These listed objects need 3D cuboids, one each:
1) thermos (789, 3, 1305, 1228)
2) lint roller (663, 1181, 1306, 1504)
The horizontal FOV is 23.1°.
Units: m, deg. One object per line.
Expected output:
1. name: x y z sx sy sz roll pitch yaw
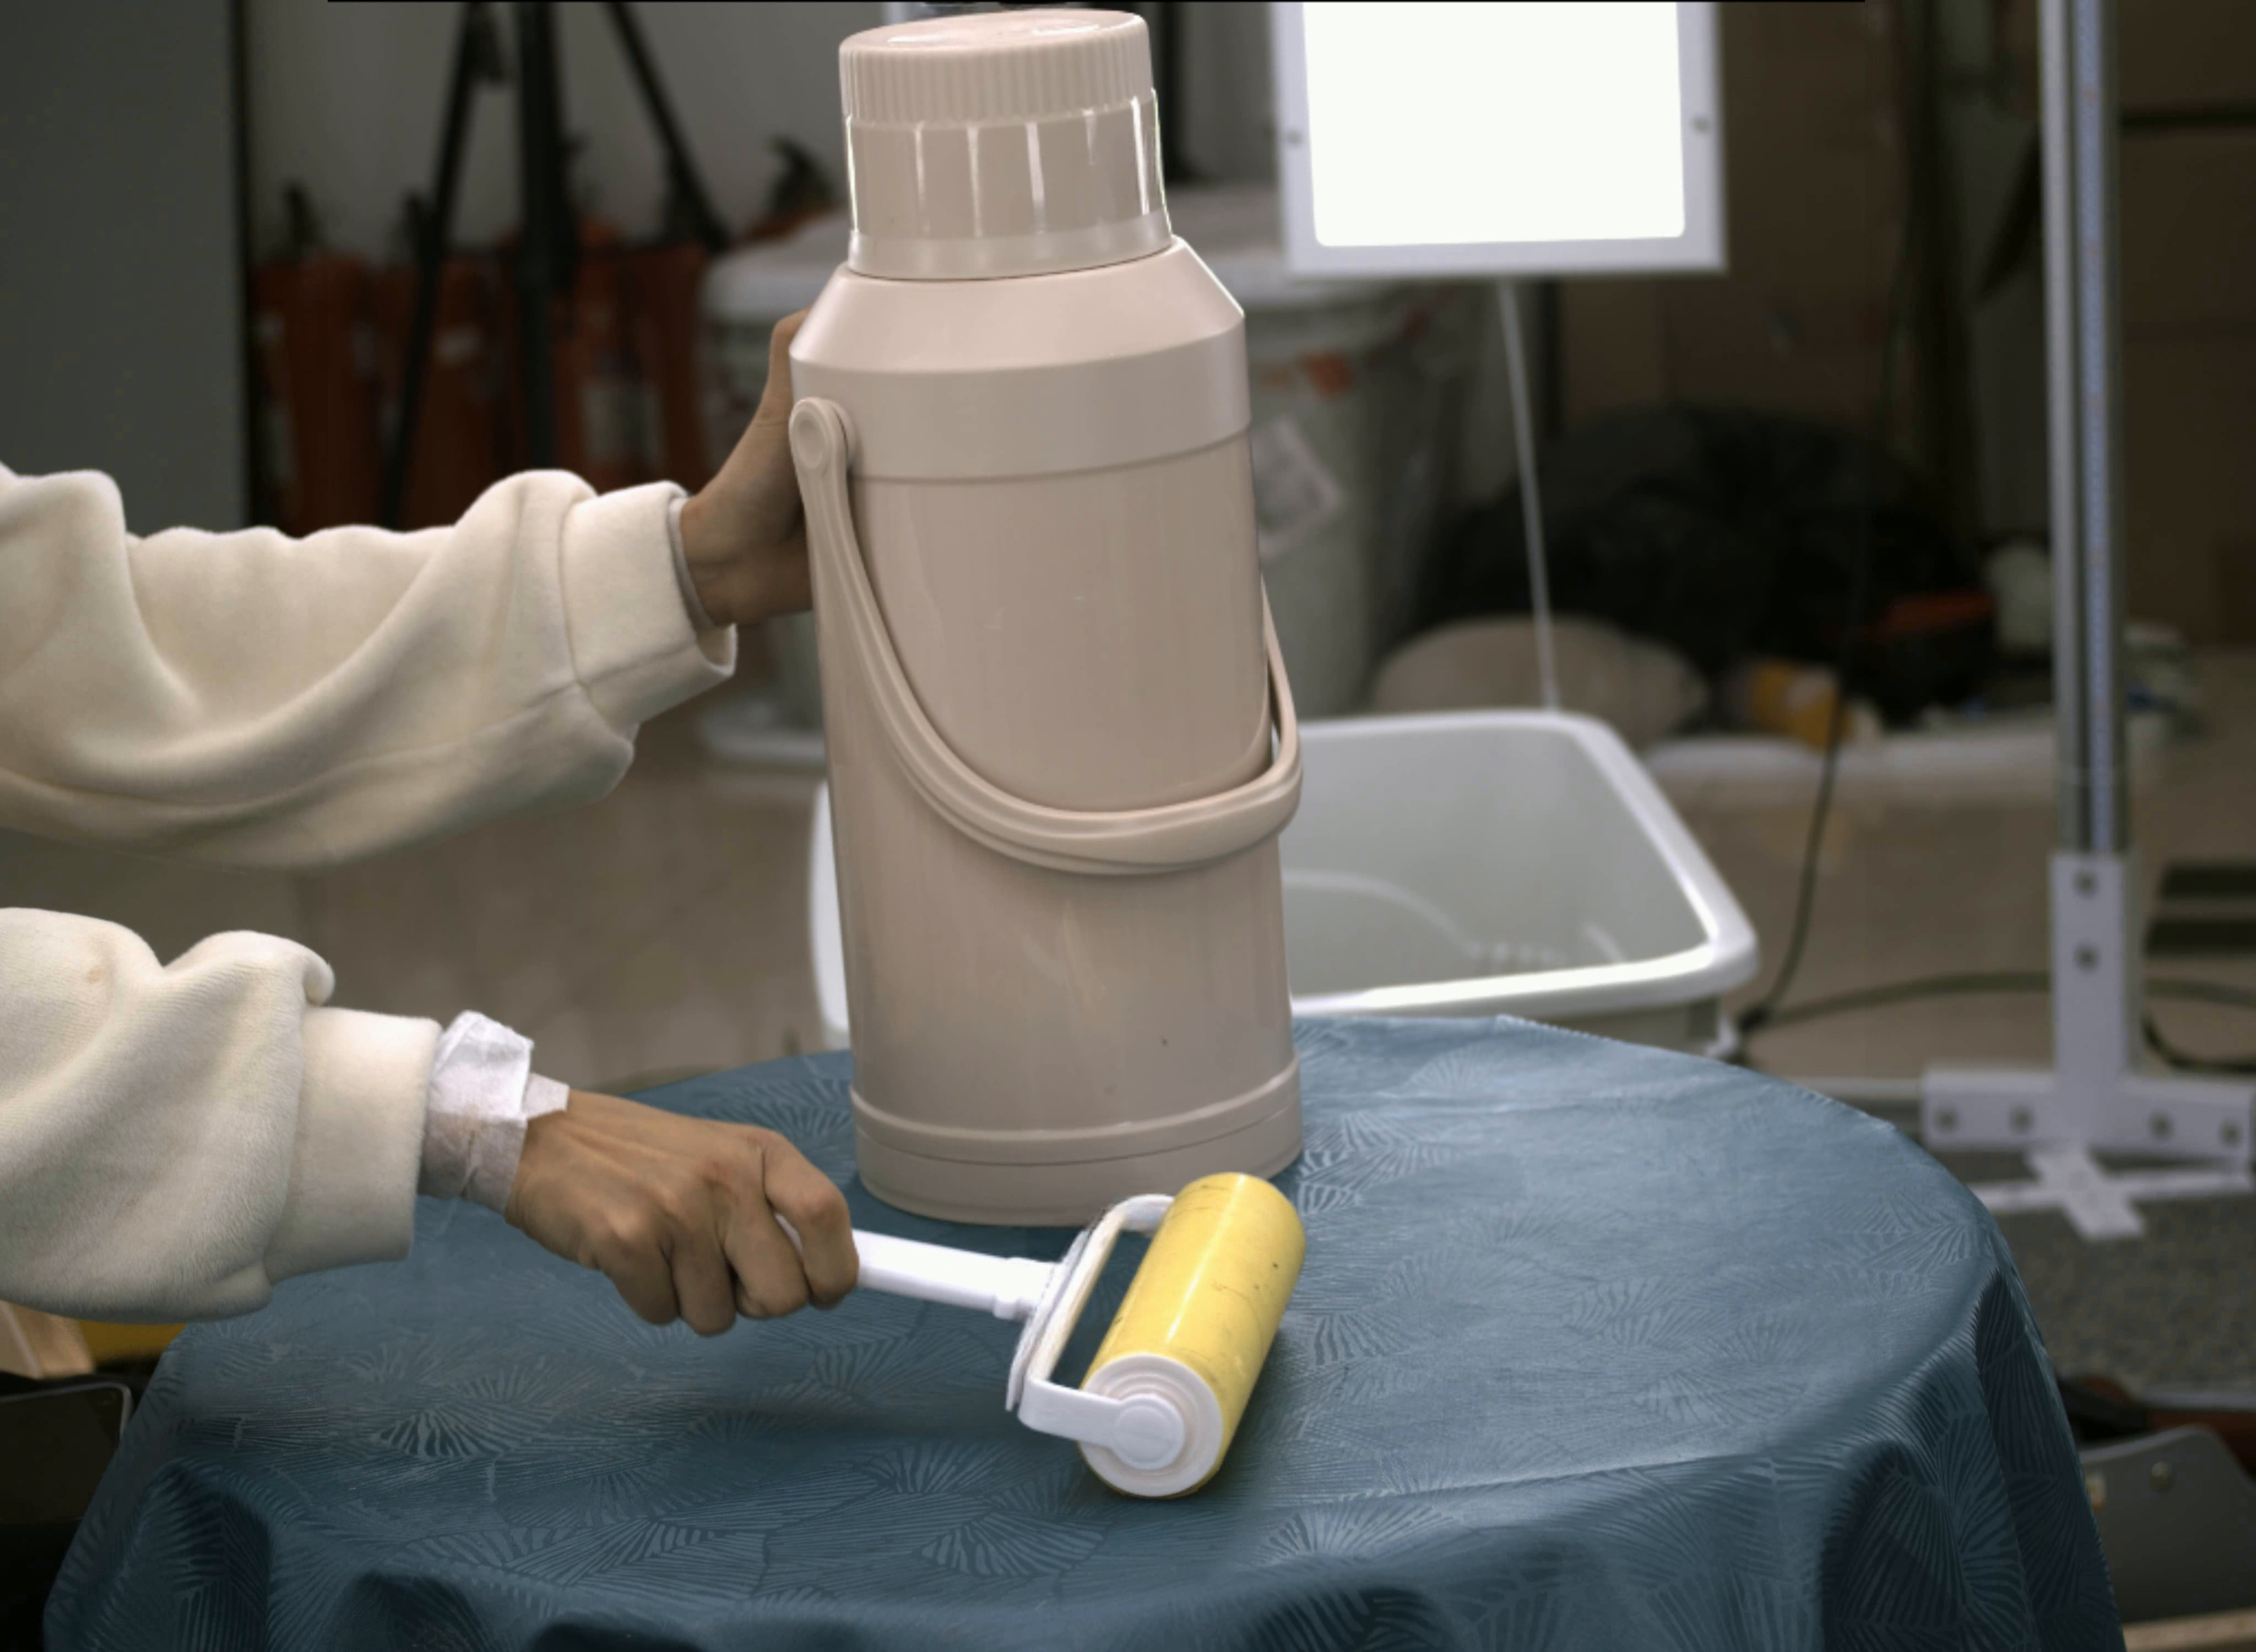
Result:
1. thermos: -0.038 -0.076 1.905 0.171 0.408 0.211 -14 17 -33
2. lint roller: -0.046 0.131 1.683 0.192 0.052 0.172 21 18 4
